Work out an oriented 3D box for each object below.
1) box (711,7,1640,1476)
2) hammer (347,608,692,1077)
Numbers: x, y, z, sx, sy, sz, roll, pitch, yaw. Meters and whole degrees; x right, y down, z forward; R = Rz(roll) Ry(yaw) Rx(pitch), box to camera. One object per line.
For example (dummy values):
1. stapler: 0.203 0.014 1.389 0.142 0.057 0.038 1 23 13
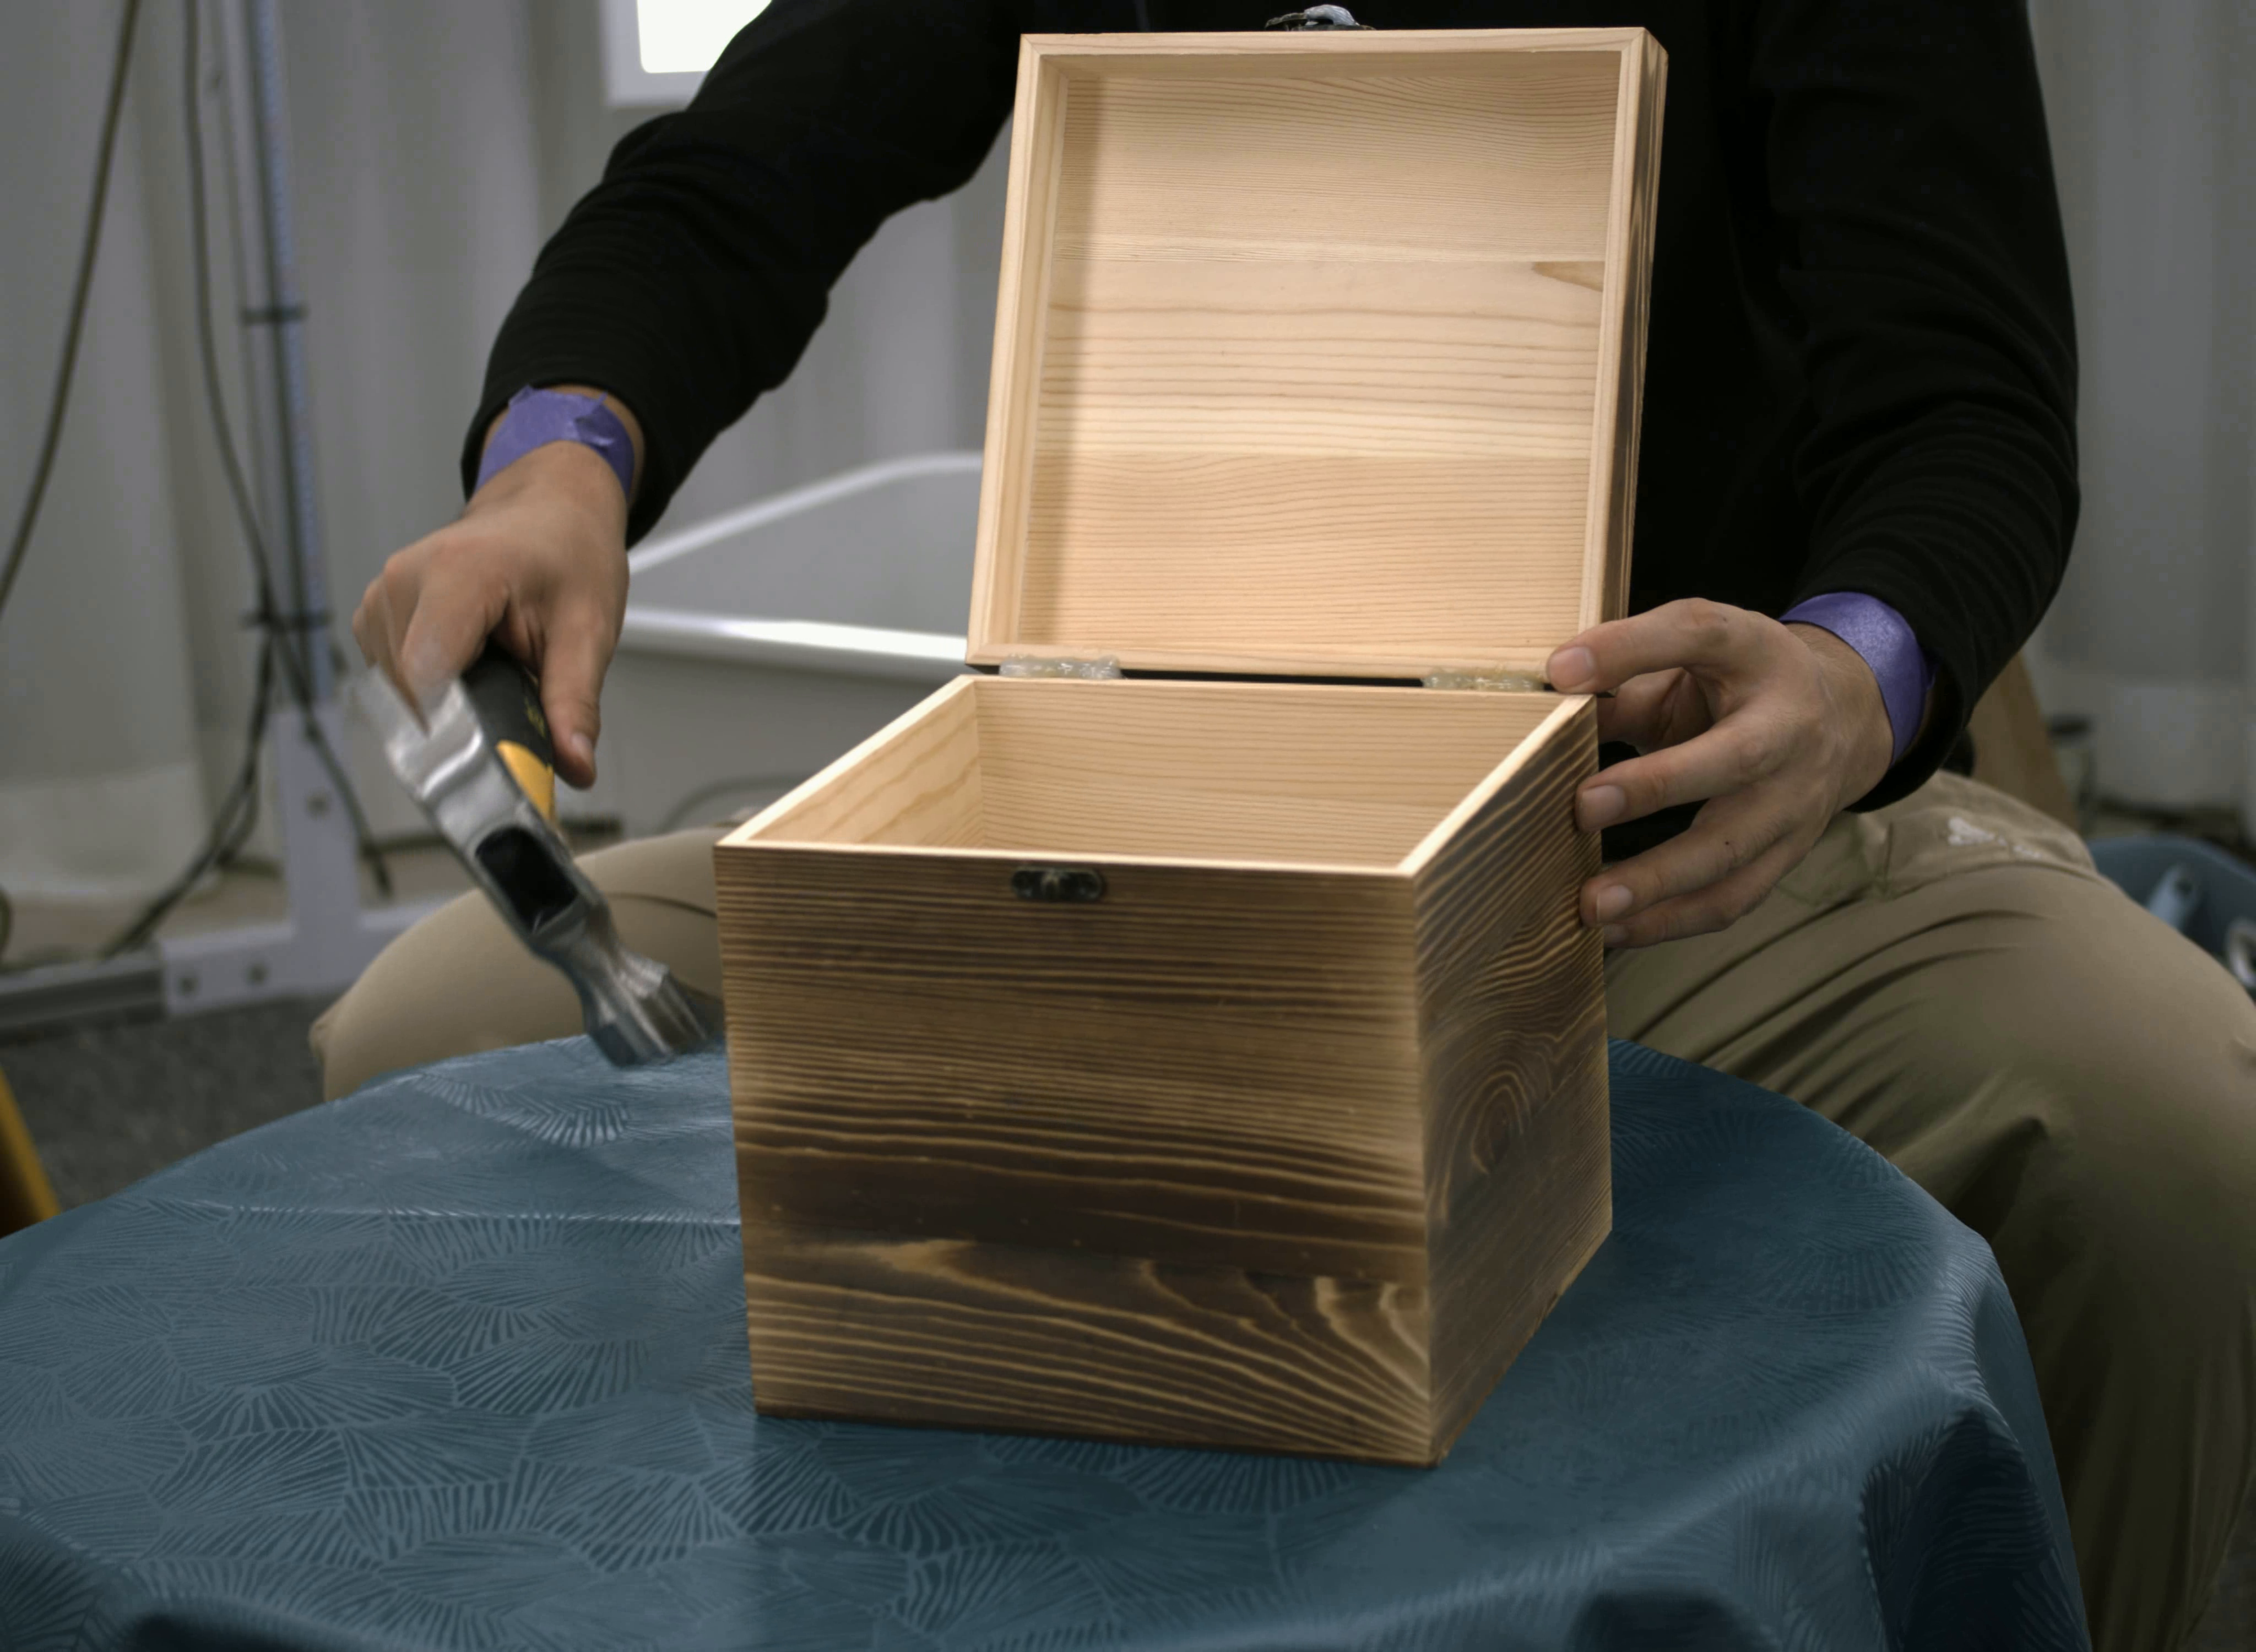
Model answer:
1. box: 0.027 -0.040 1.604 0.209 0.374 0.323 1 13 19
2. hammer: -0.189 -0.021 1.715 0.032 0.131 0.340 -36 13 3
